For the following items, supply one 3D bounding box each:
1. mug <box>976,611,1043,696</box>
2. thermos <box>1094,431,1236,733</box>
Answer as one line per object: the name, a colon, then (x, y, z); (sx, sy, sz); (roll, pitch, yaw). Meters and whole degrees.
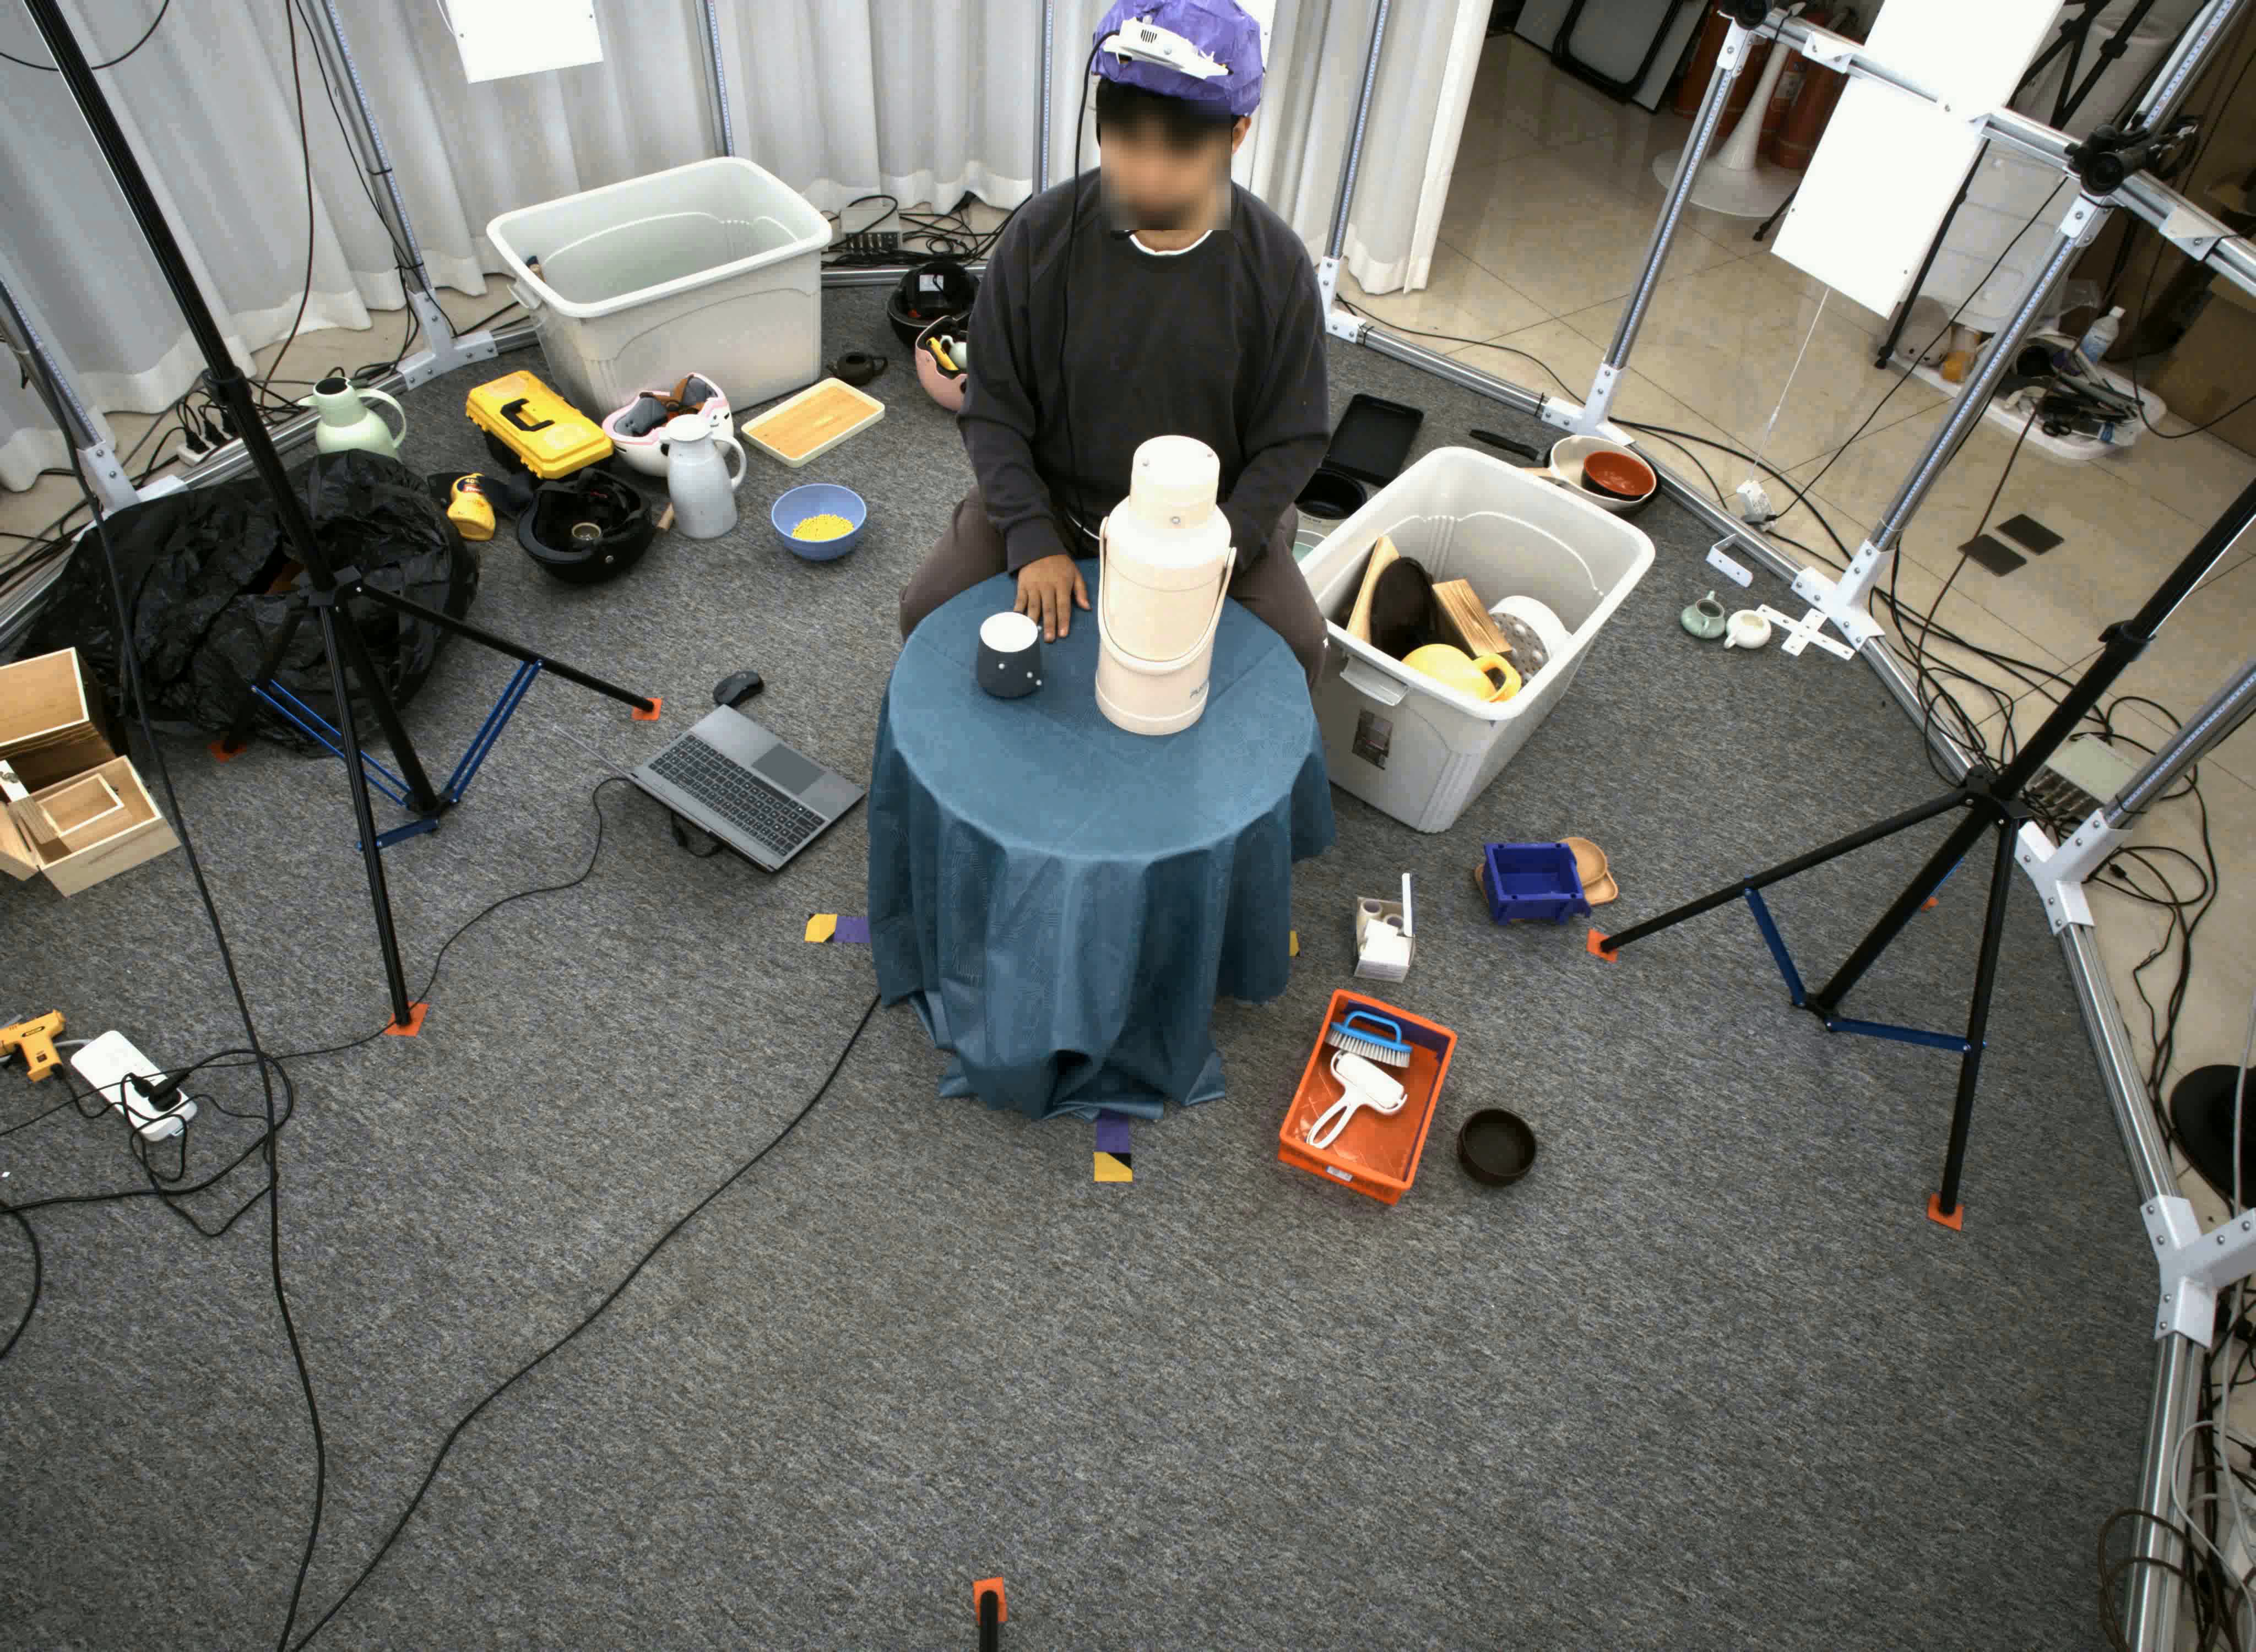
mug: (-0.163, -0.251, 1.811); (0.093, 0.088, 0.126); (9, 49, 3)
thermos: (0.050, -0.323, 1.694); (0.176, 0.396, 0.211); (15, 50, 8)
